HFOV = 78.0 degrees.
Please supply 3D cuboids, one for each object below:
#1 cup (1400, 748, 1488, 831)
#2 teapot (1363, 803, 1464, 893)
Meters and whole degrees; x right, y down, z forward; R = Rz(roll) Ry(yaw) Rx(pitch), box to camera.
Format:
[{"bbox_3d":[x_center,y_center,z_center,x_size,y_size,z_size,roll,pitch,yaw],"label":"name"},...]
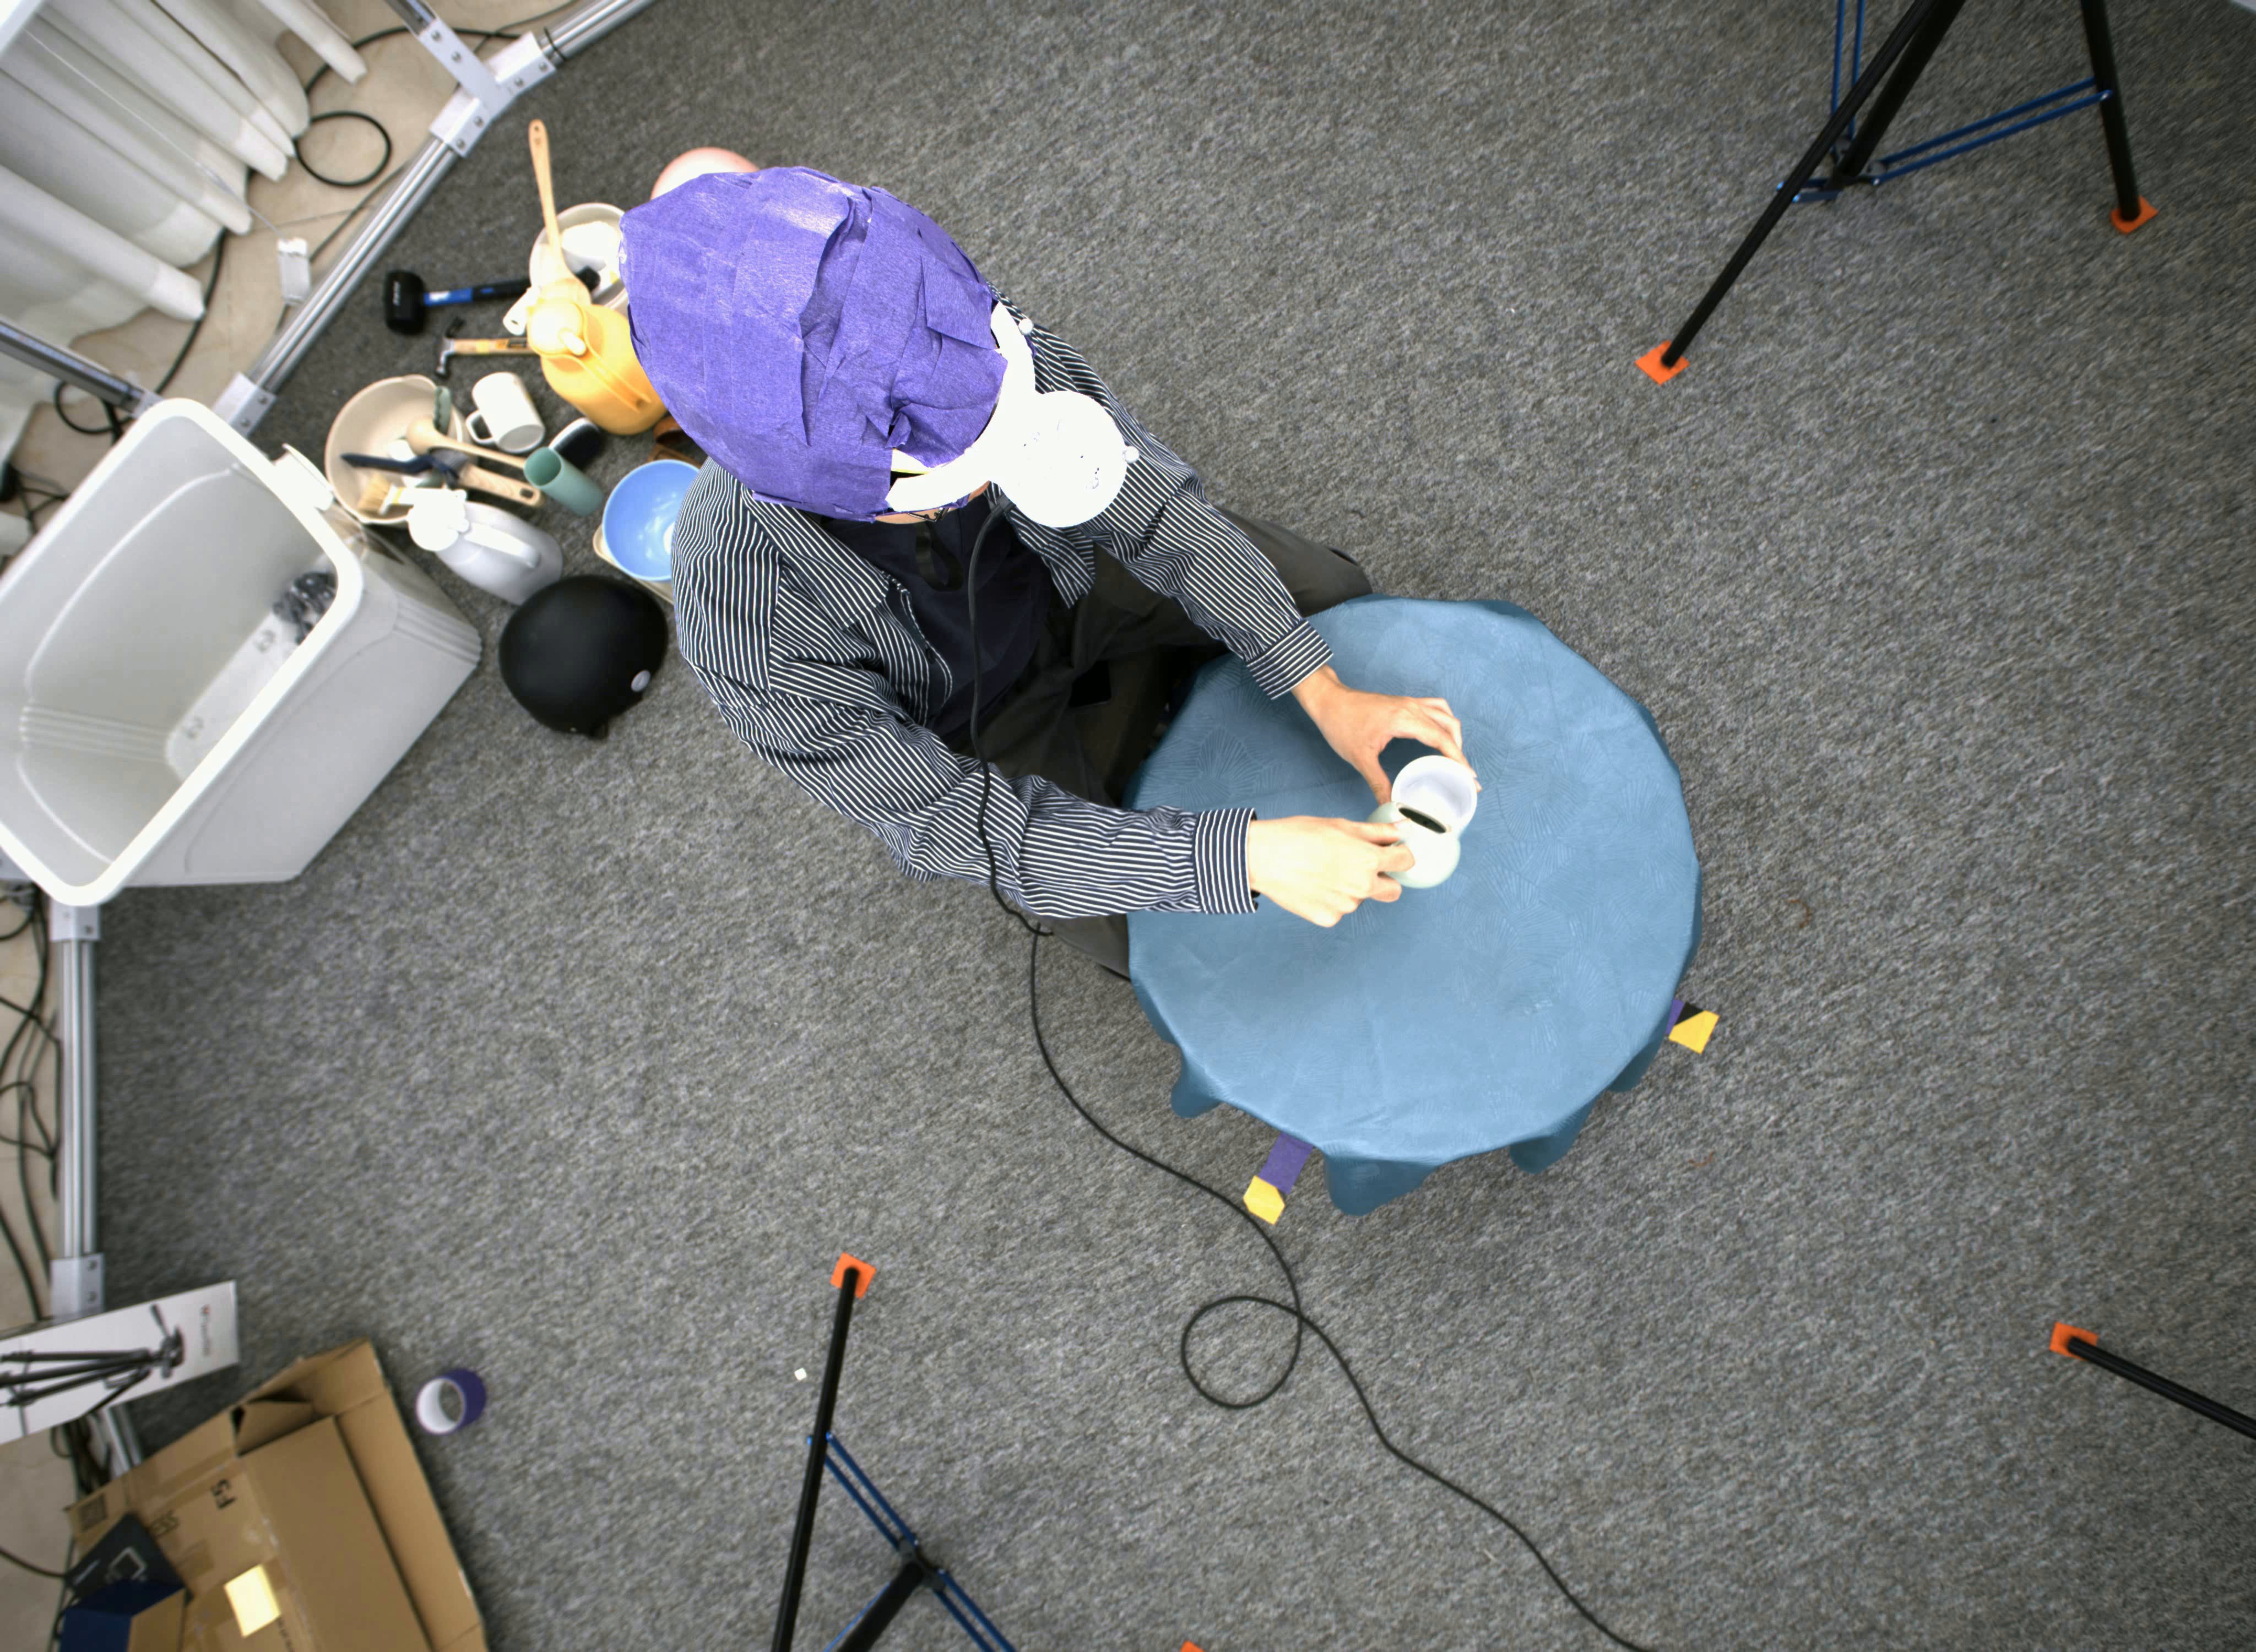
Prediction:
[{"bbox_3d":[0.312,-0.031,1.373,0.082,0.125,0.081,-1,86,9],"label":"cup"},{"bbox_3d":[0.251,0.021,1.233,0.091,0.127,0.062,35,117,25],"label":"teapot"}]
